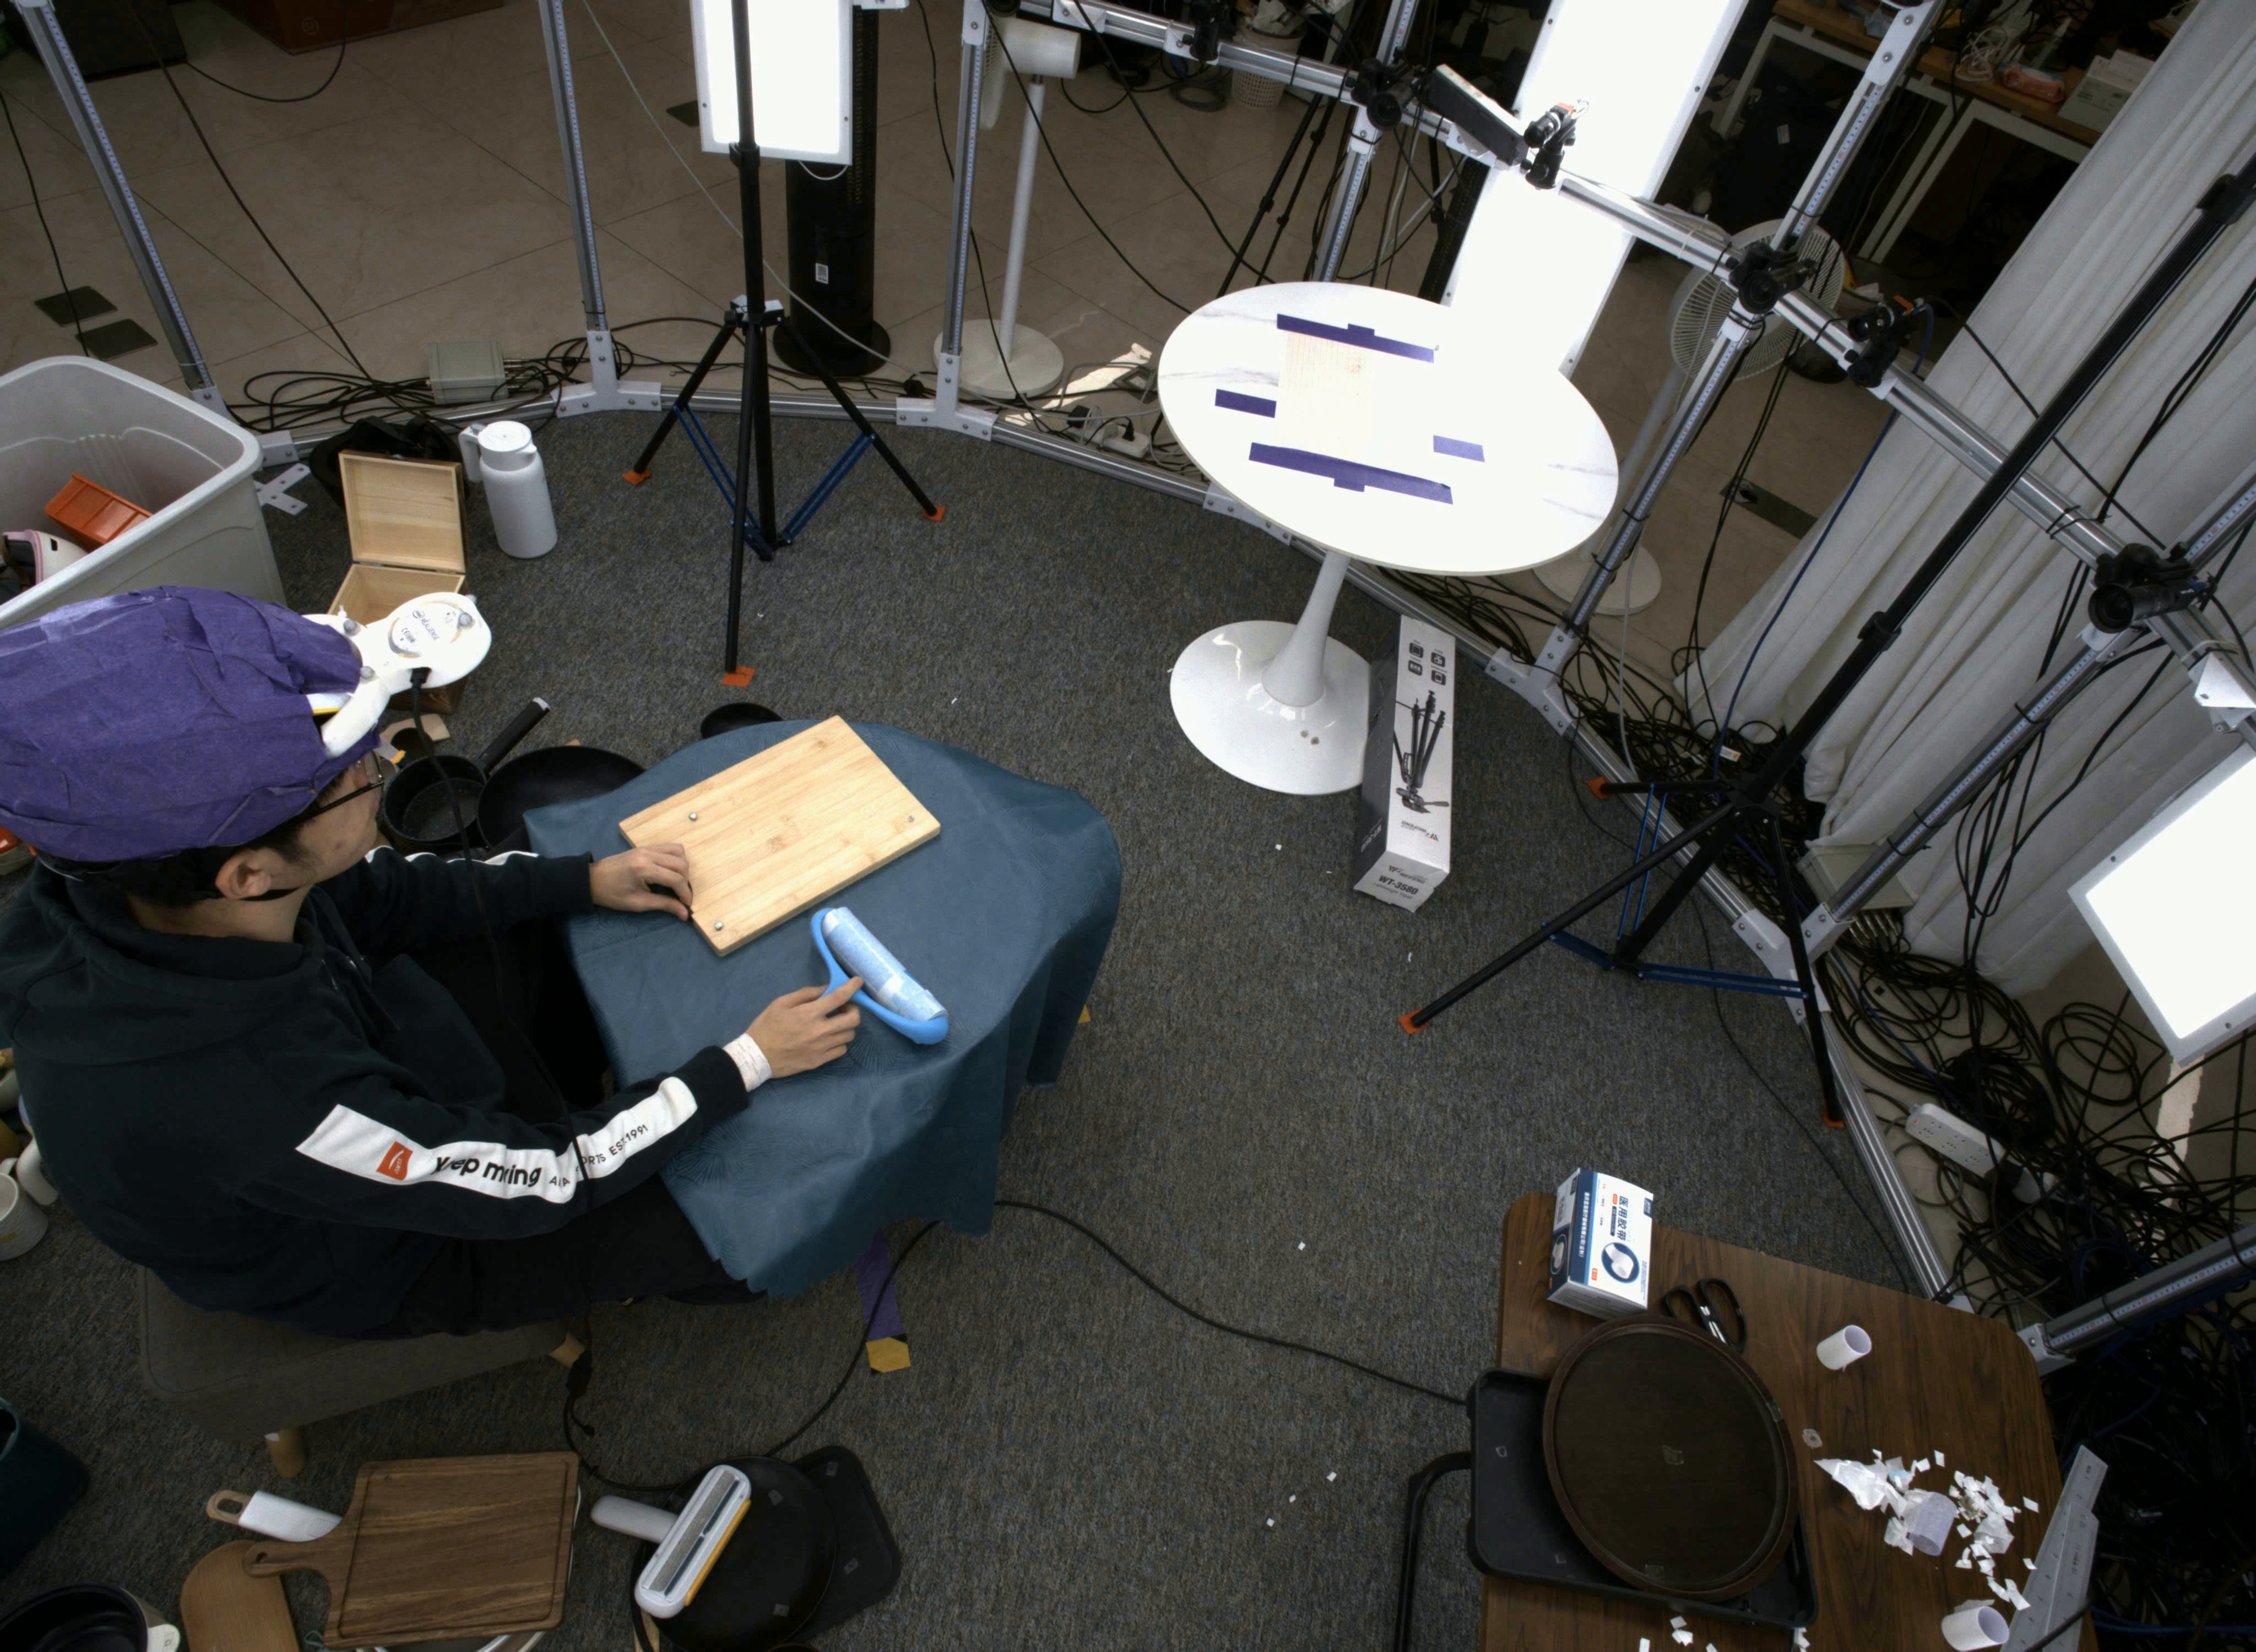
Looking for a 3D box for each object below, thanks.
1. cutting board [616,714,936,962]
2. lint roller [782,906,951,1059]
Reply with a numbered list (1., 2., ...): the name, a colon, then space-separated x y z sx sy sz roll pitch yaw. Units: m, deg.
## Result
1. cutting board: -0.459 0.004 1.707 0.349 0.024 0.245 -33 68 -32
2. lint roller: -0.340 0.208 1.562 0.224 0.069 0.180 40 54 14
